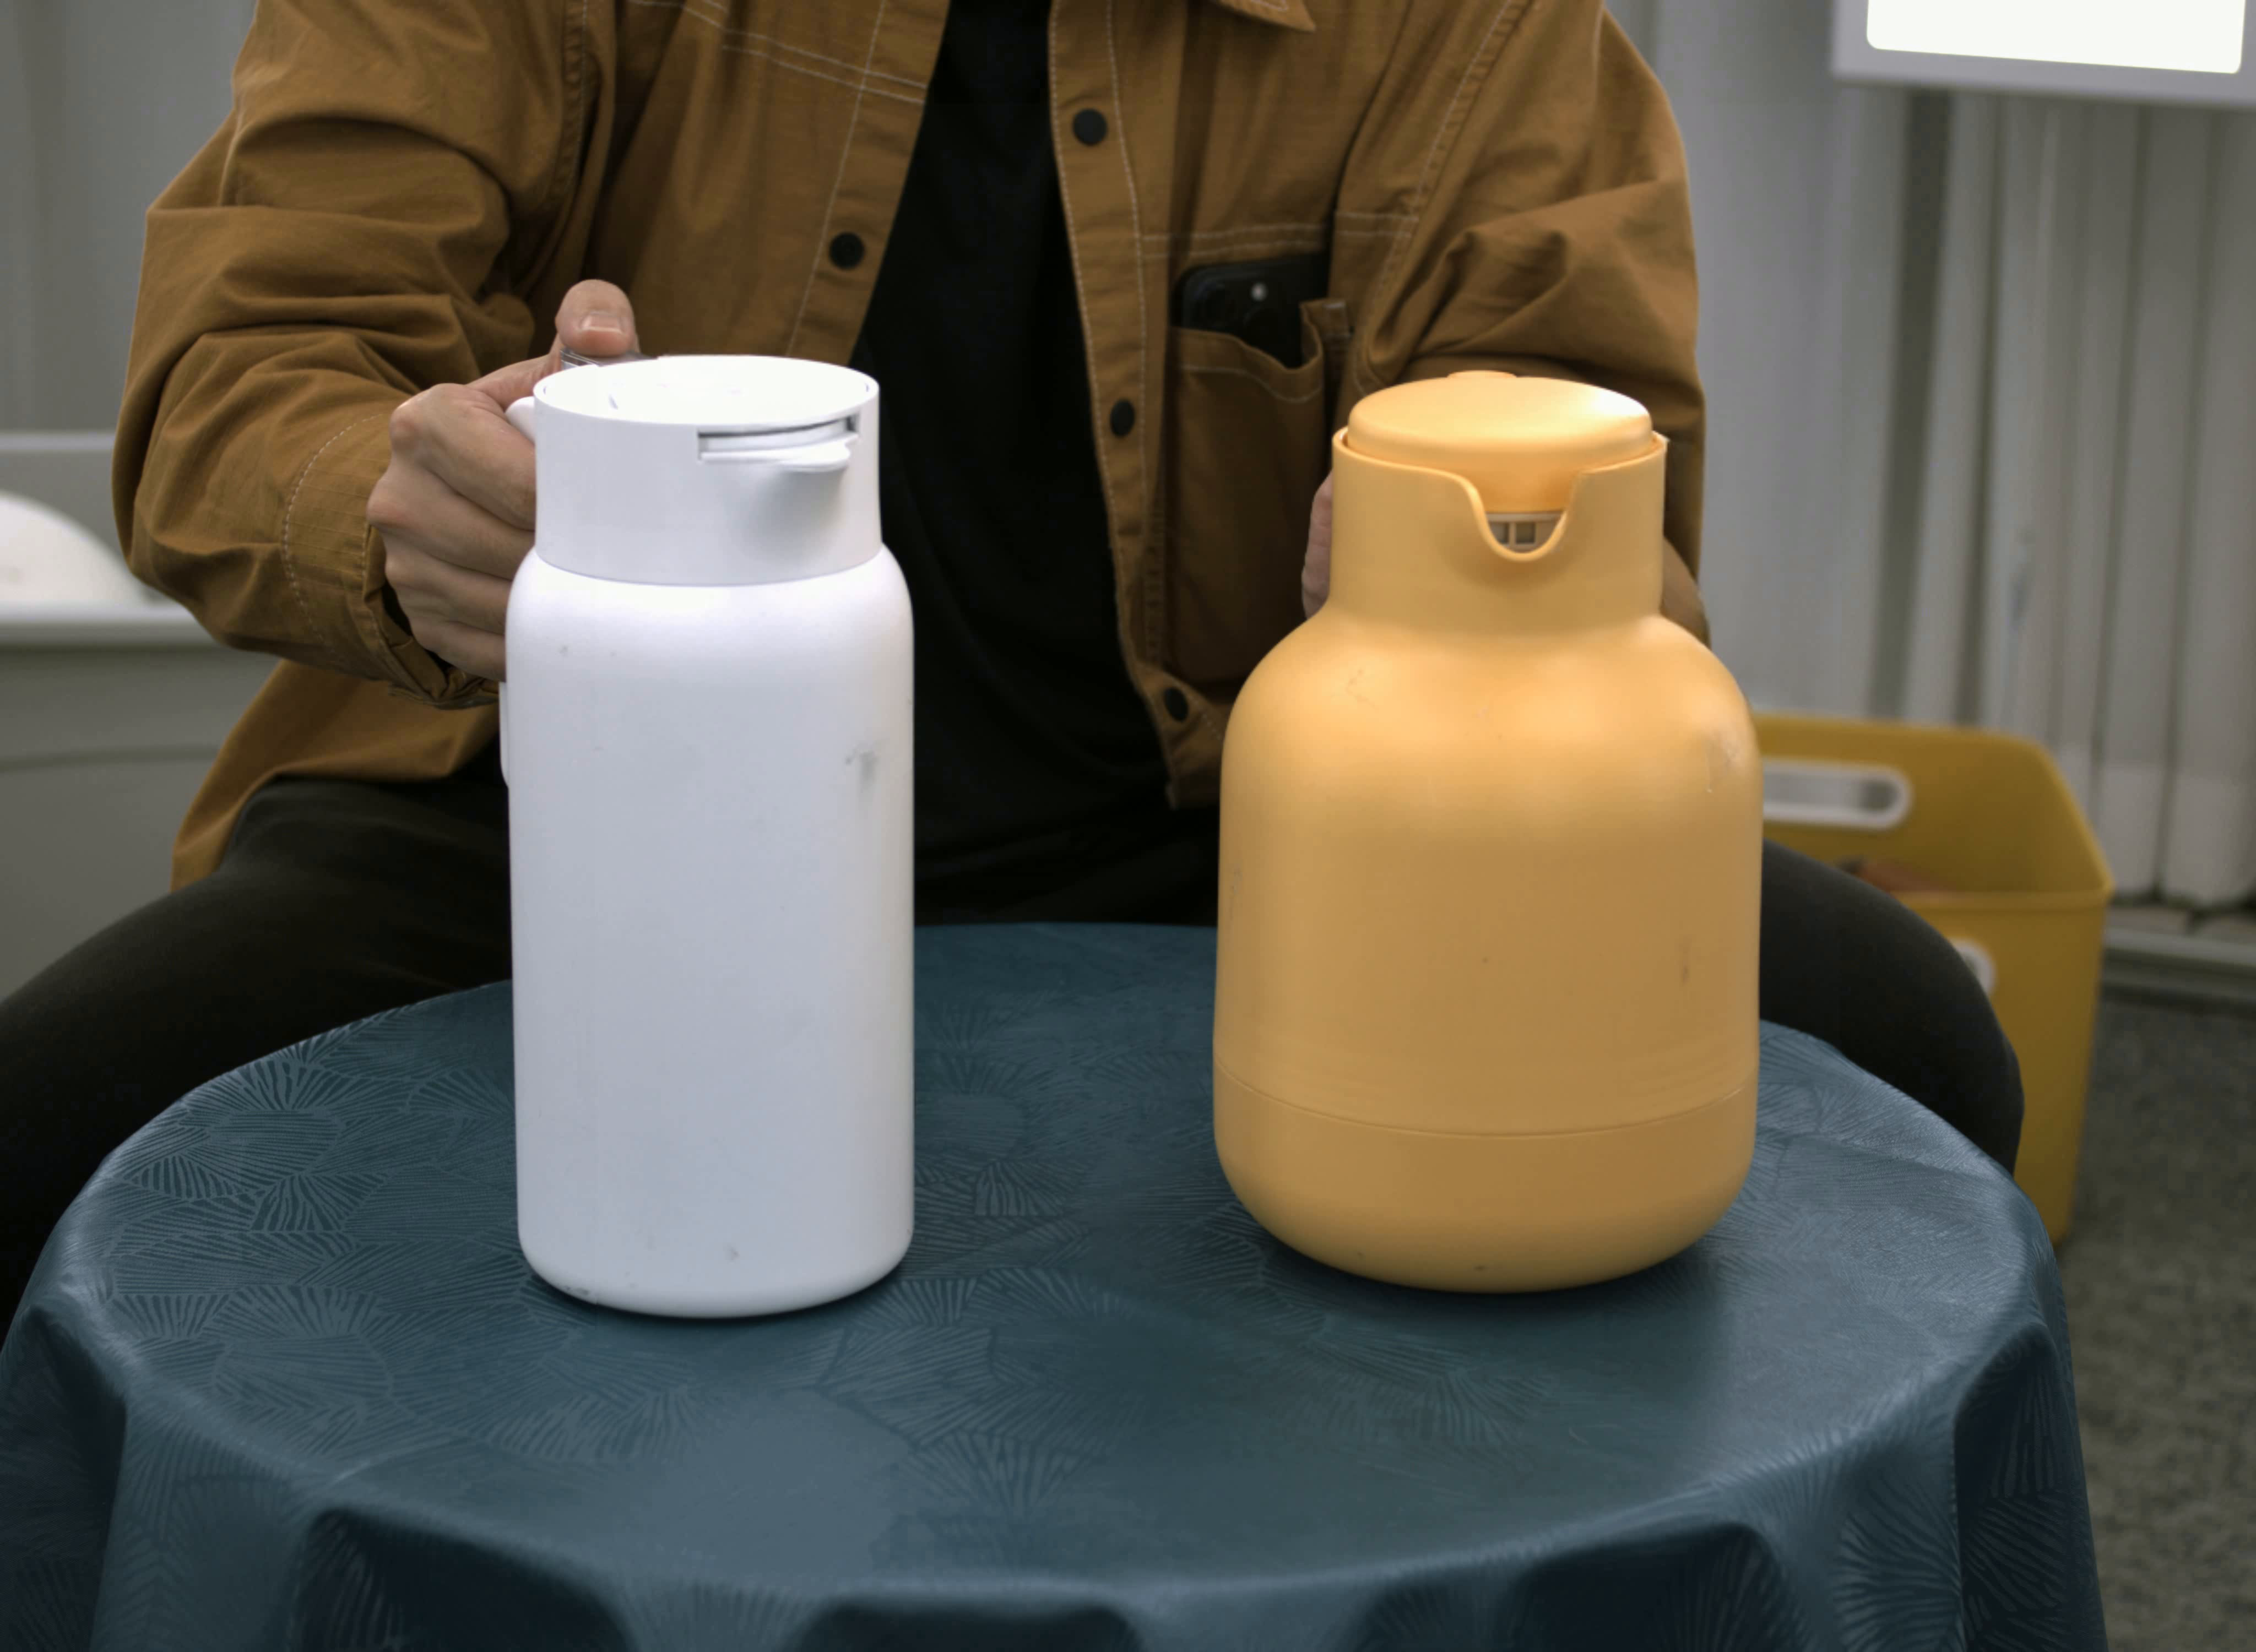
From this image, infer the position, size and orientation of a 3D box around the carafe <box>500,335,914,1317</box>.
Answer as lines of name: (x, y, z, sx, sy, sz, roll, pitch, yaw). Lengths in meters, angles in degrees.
carafe: (-0.131, -0.004, 1.532, 0.124, 0.271, 0.170, -13, 21, -33)

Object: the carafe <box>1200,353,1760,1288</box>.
carafe: (0.107, -0.010, 1.570, 0.163, 0.262, 0.201, 3, 18, 0)
